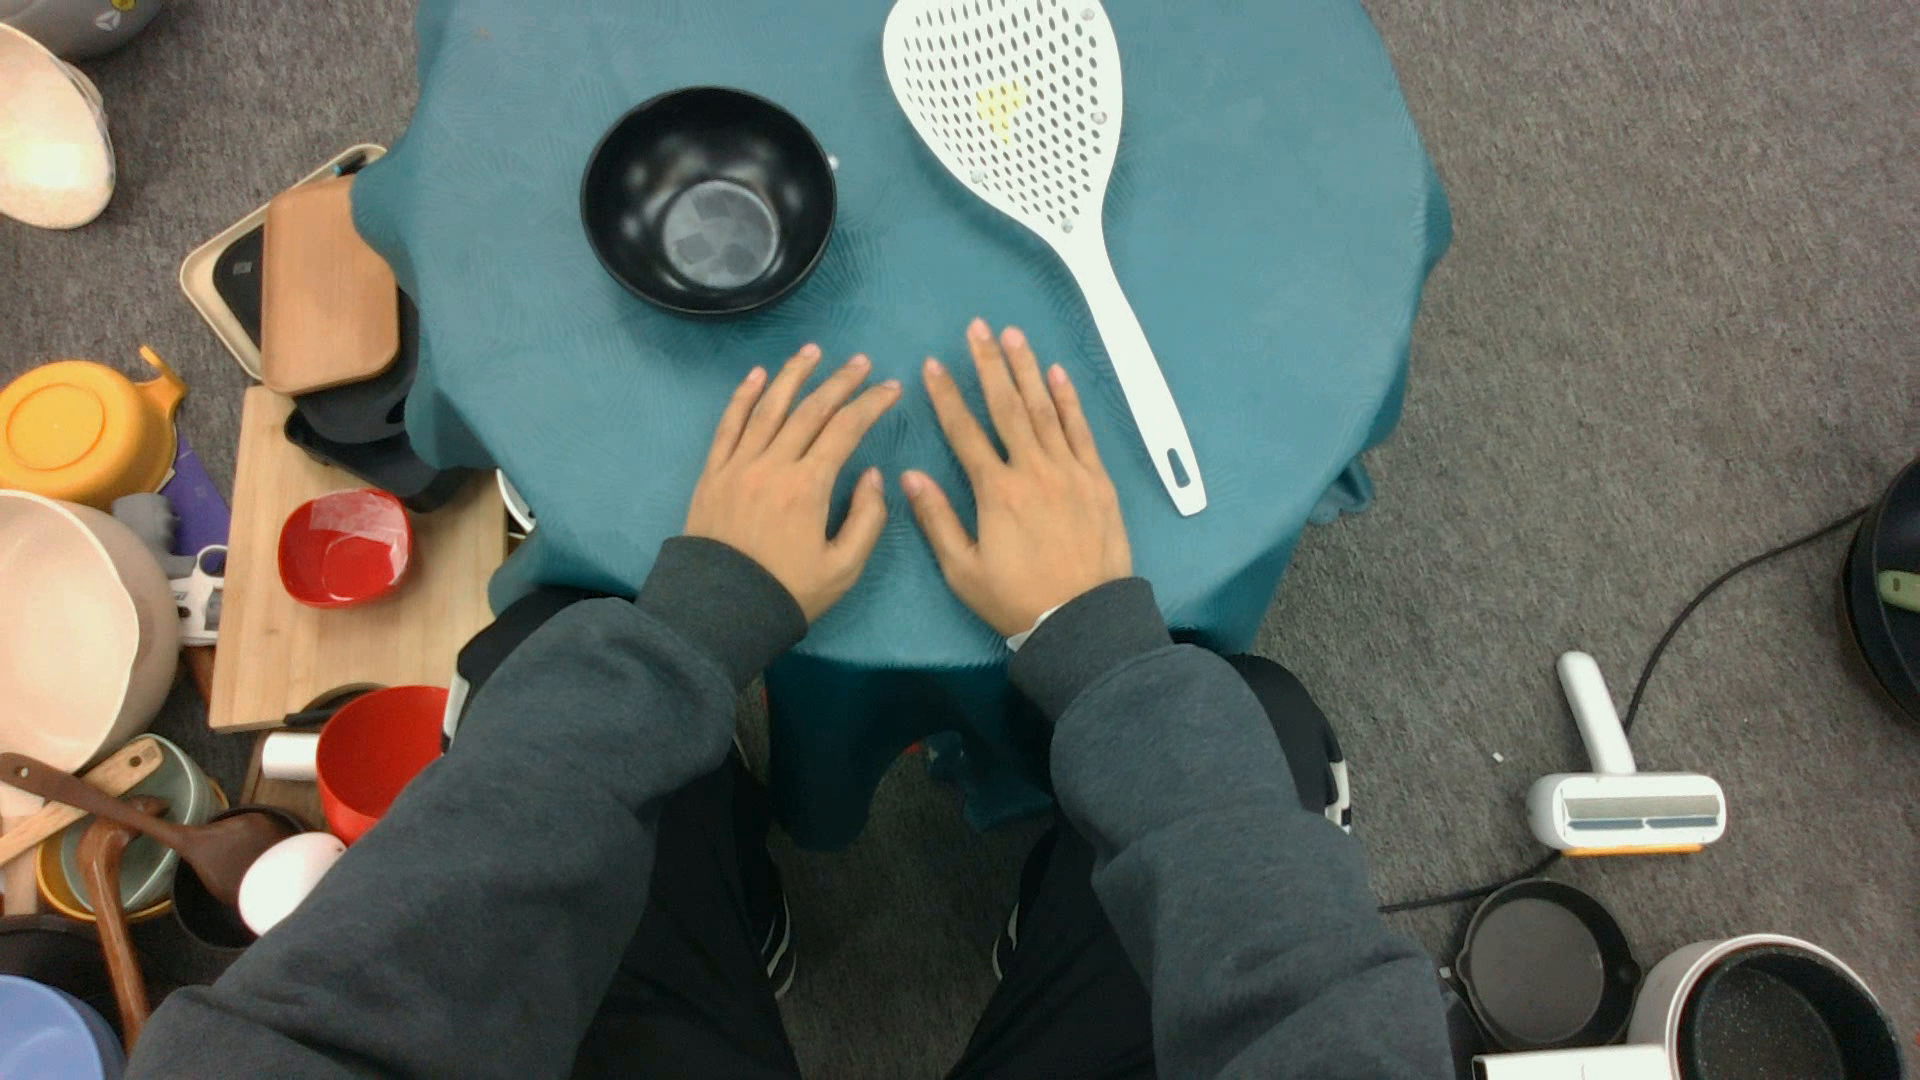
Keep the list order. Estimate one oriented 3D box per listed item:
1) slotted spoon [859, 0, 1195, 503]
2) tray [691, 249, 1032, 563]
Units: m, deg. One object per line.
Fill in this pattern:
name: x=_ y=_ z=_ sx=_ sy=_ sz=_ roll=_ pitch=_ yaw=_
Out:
slotted spoon: x=0.053 y=-0.180 z=0.794 sx=0.137 sy=0.050 sz=0.348 roll=-21 pitch=77 yaw=-13
tray: x=-0.097 y=-0.135 z=1.358 sx=0.300 sy=0.027 sz=0.192 roll=40 pitch=75 yaw=8
